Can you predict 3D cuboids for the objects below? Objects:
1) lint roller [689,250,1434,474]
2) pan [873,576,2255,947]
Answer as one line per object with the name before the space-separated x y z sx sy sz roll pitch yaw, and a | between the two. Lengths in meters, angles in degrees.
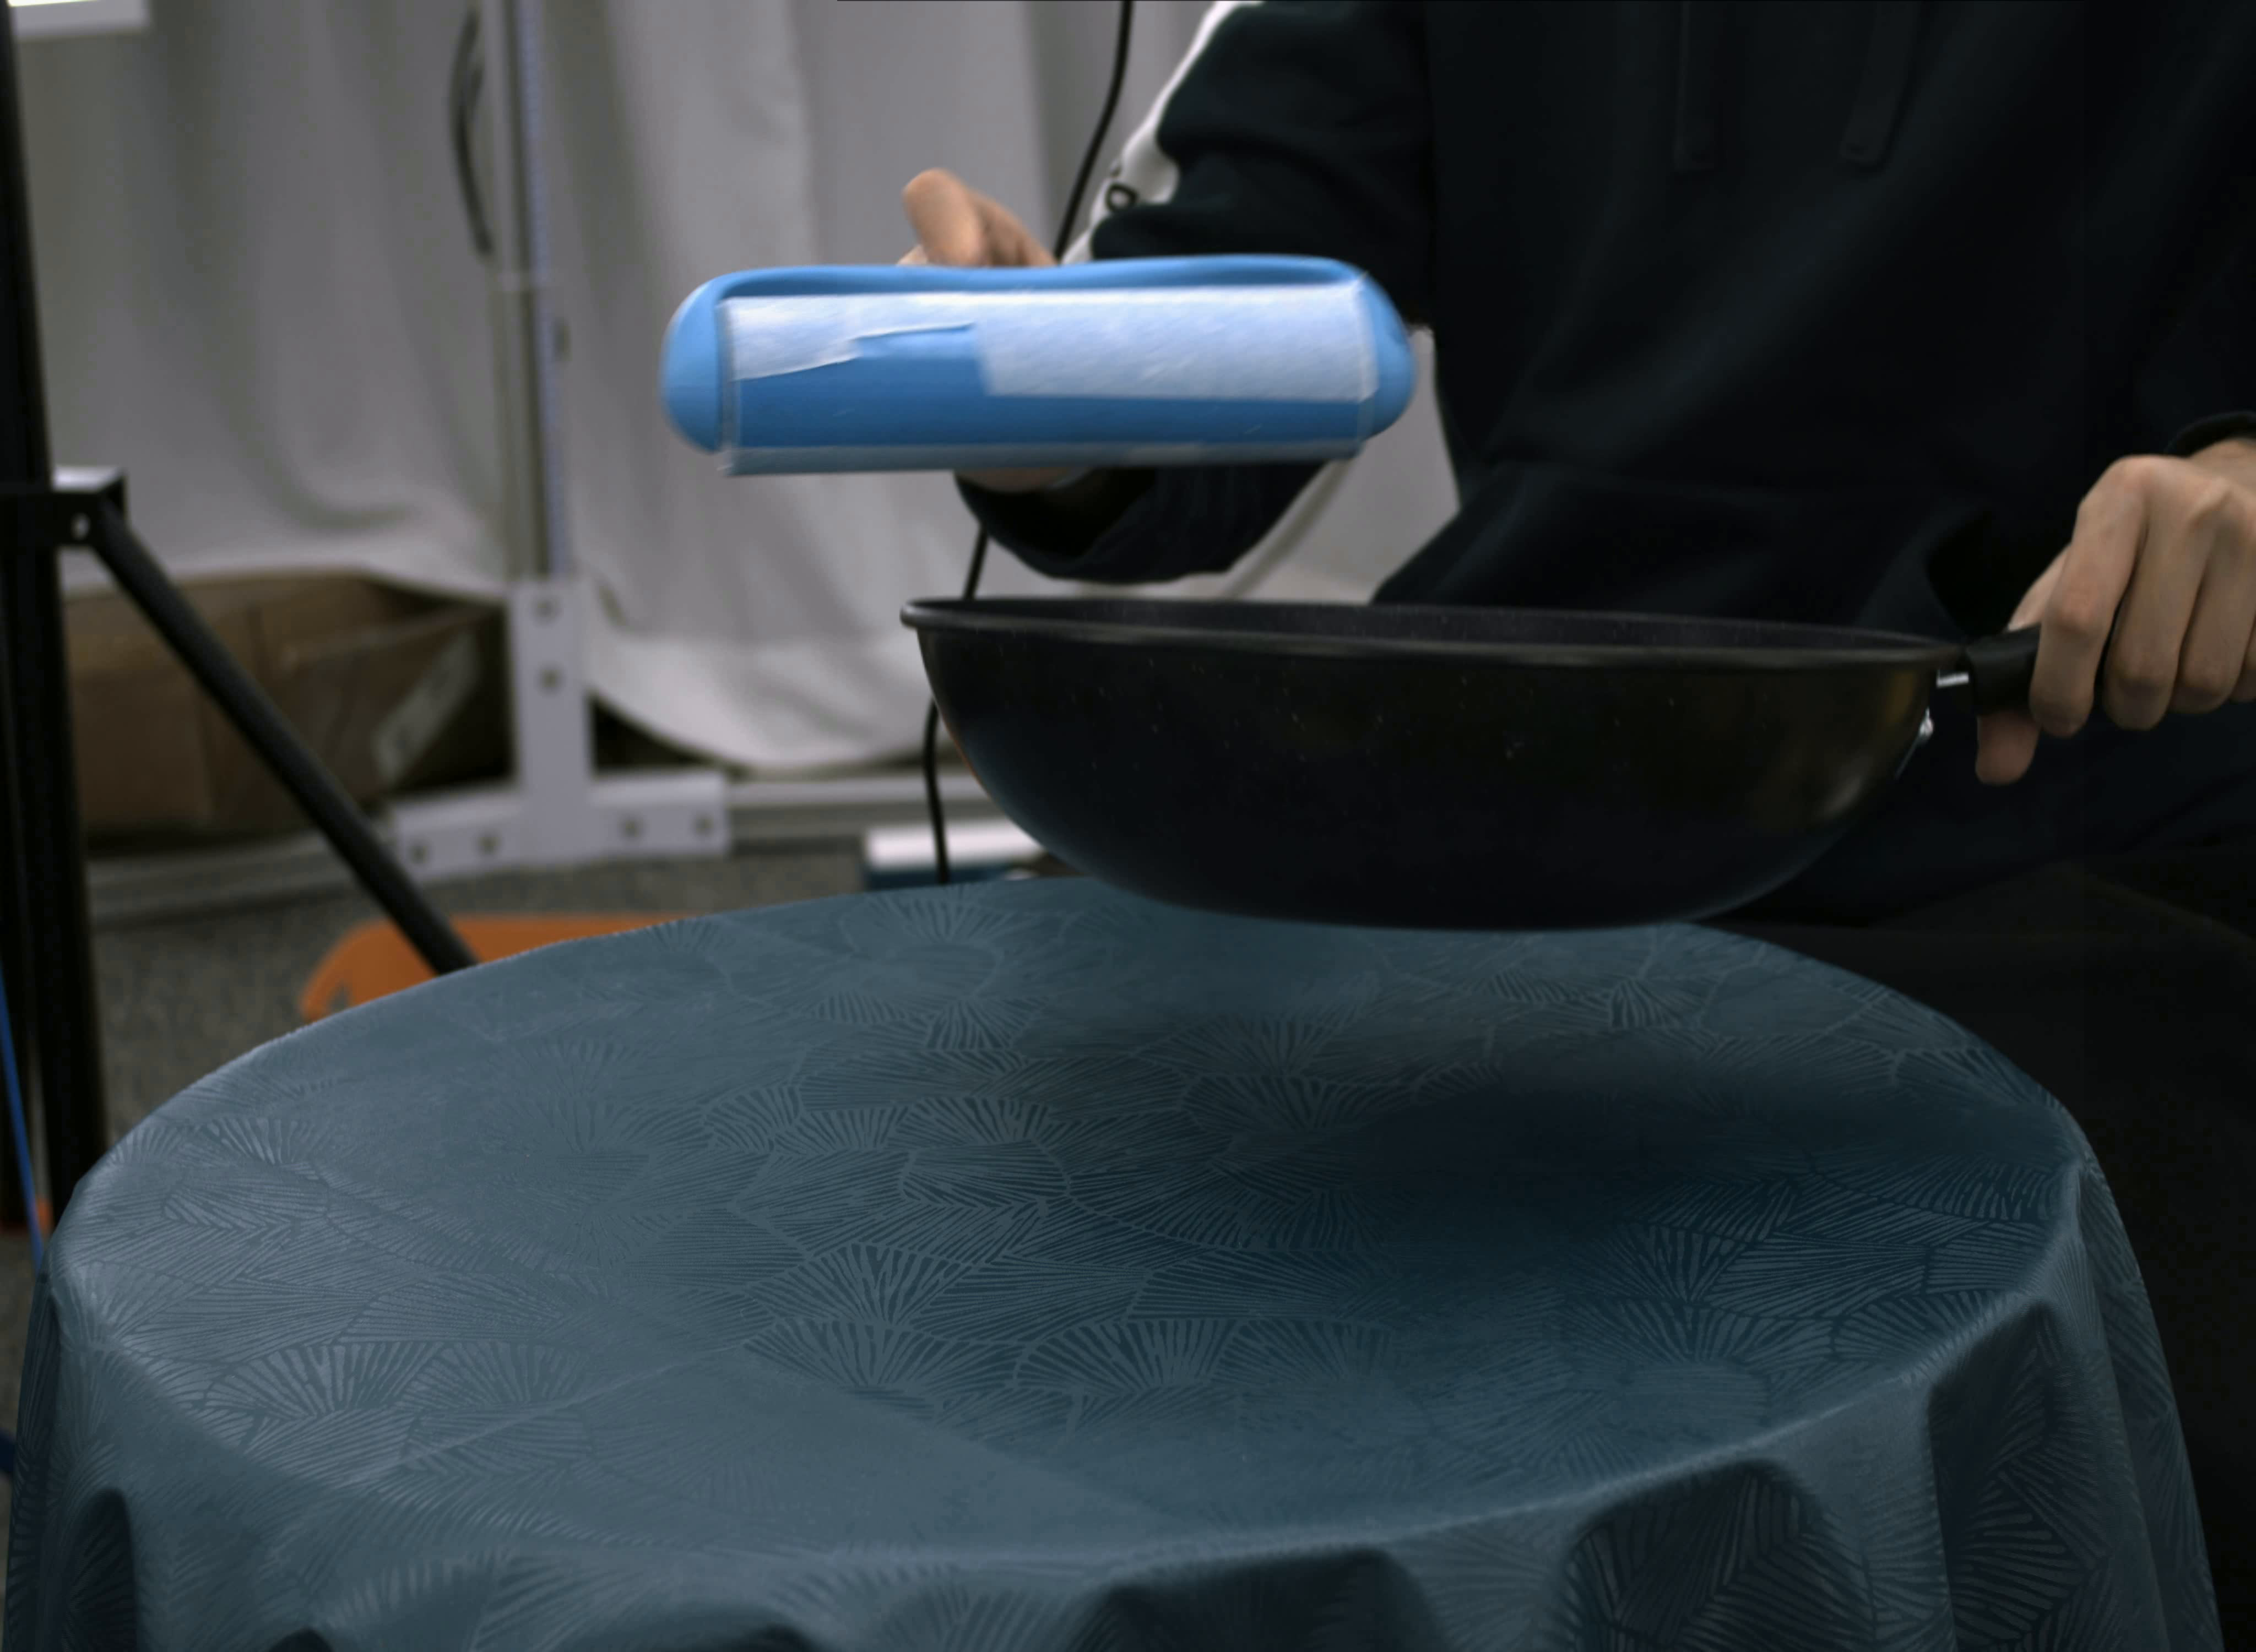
lint roller | -0.034 -0.144 1.663 0.226 0.068 0.182 -5 7 -12
pan | 0.161 -0.027 1.560 0.471 0.112 0.312 1 6 -8
